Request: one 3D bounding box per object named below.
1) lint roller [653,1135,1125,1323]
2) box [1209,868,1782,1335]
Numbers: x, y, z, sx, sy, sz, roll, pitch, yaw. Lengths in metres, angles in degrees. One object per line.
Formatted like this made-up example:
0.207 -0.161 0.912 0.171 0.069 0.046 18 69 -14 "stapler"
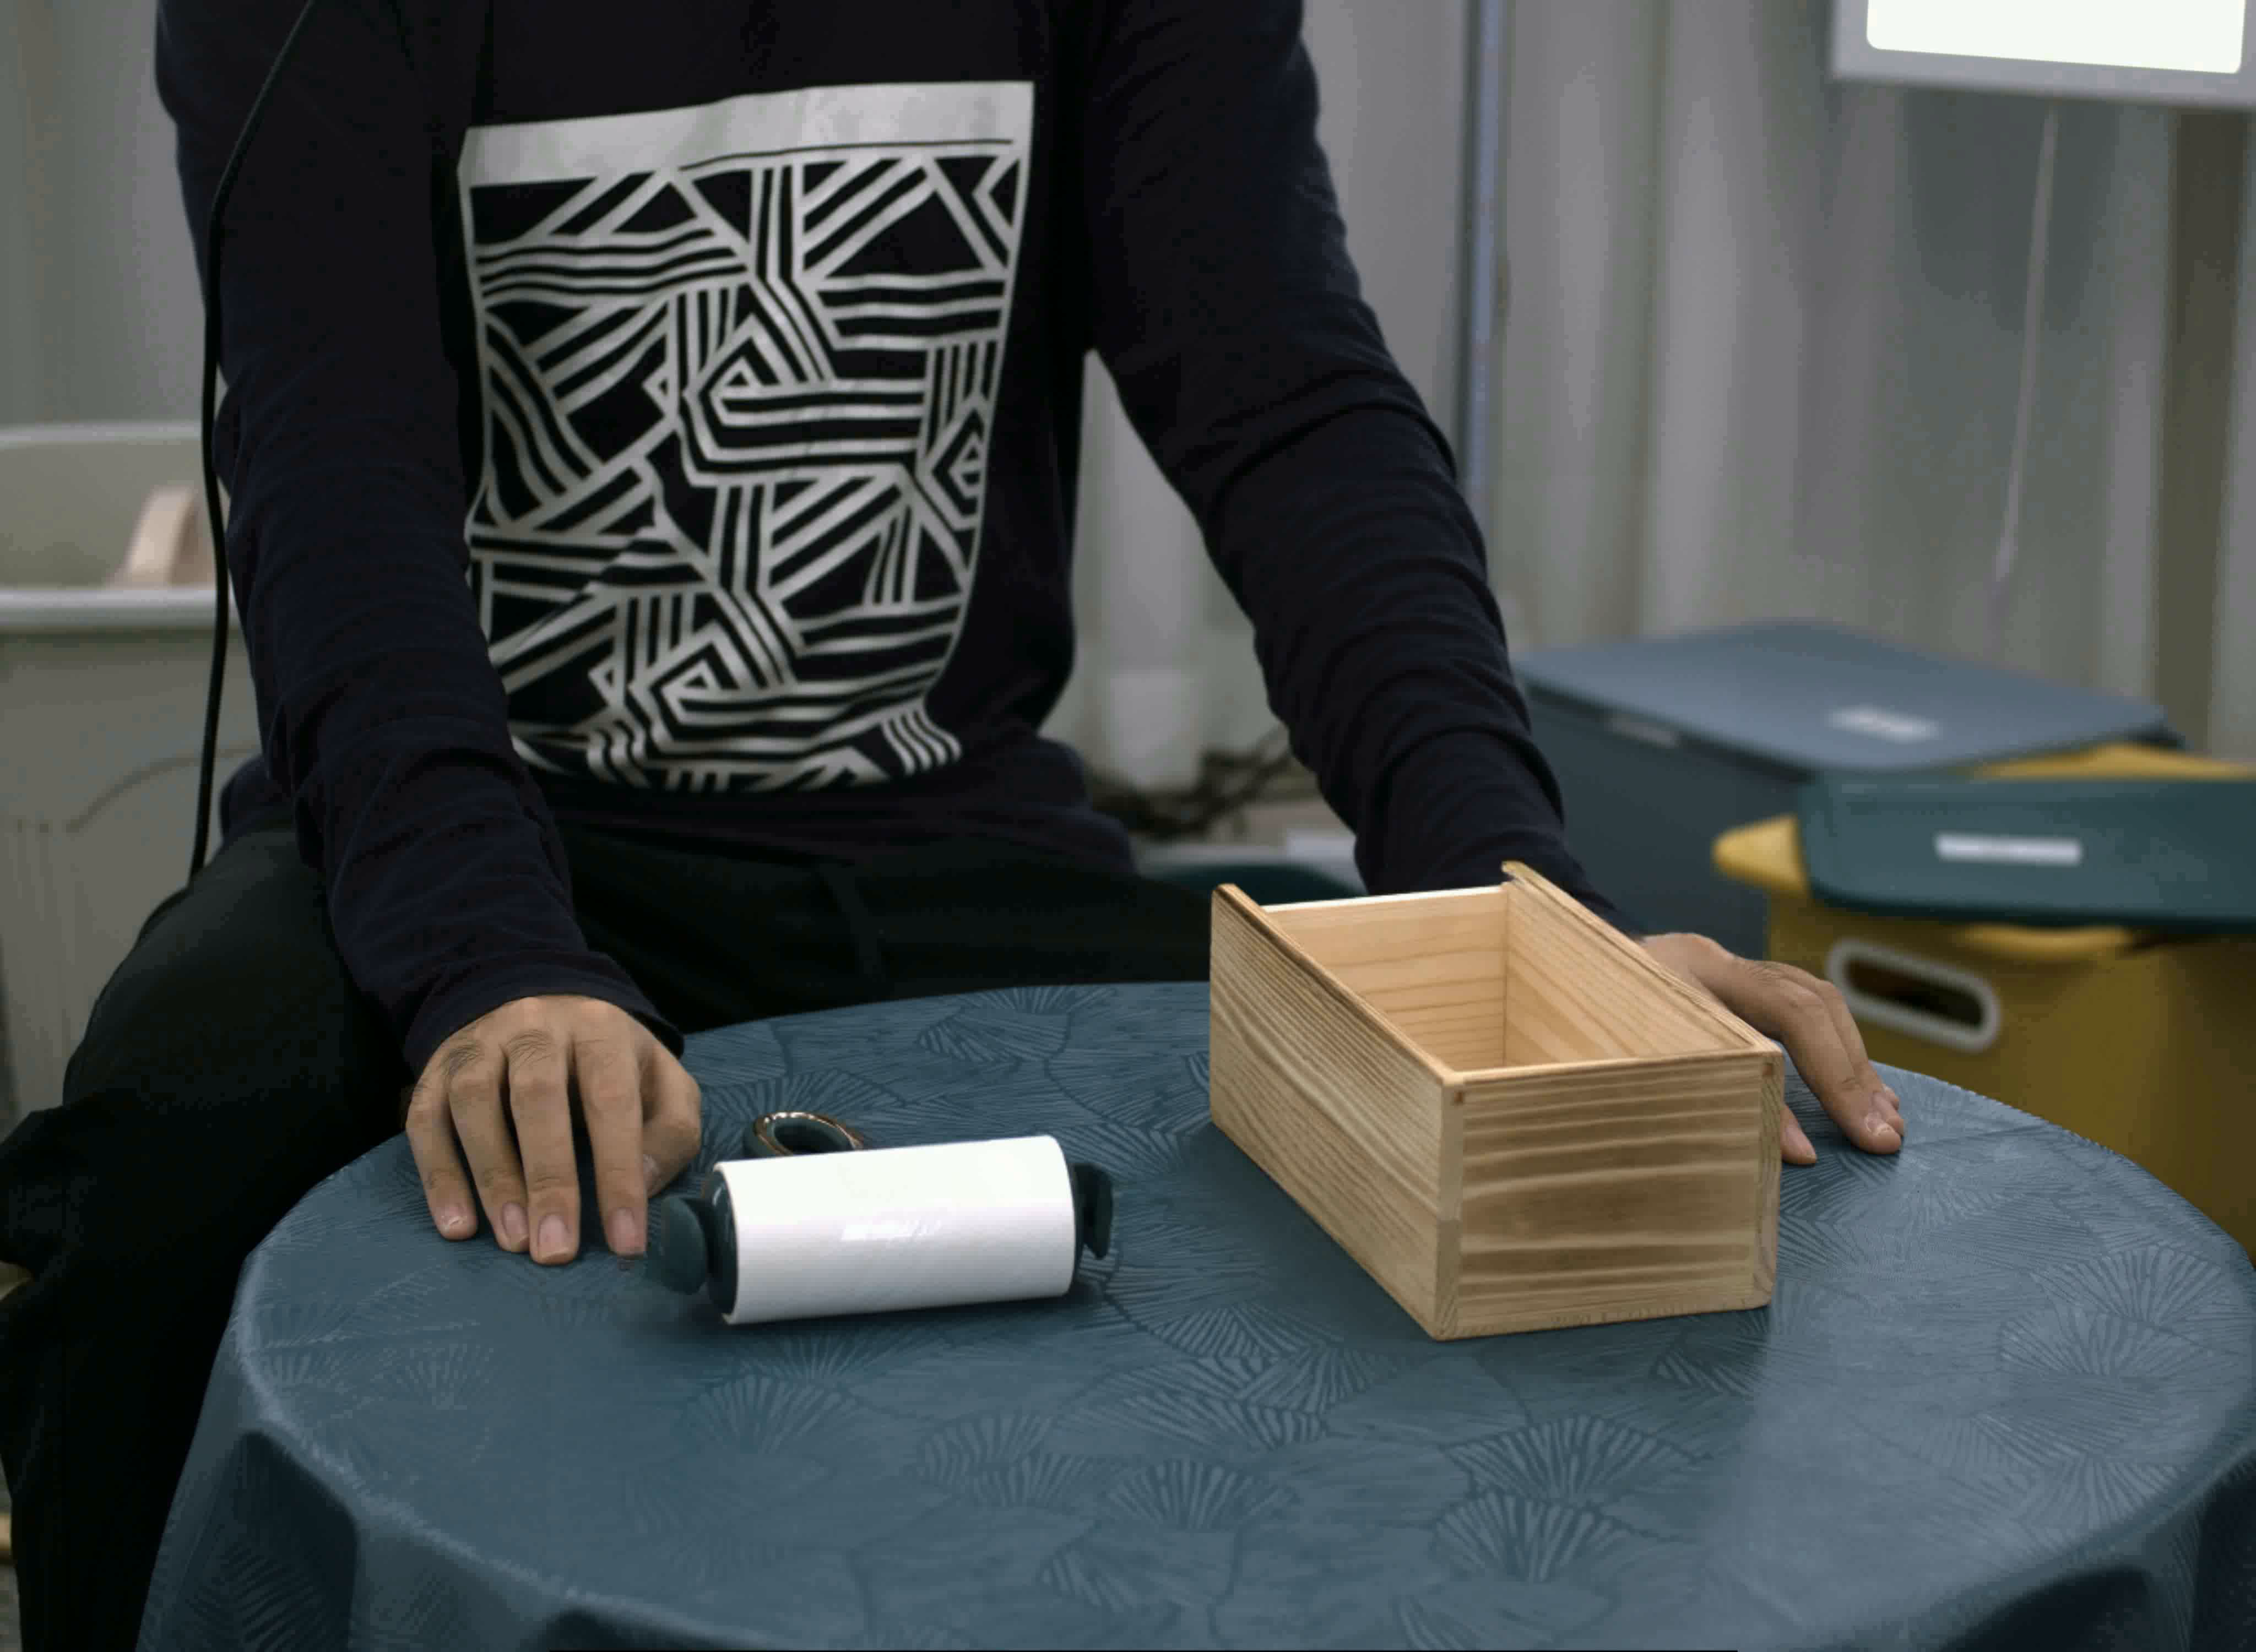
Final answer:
-0.087 0.103 1.581 0.134 0.048 0.178 -3 13 -16 "lint roller"
0.107 0.080 1.598 0.108 0.081 0.209 -5 15 -17 "box"
